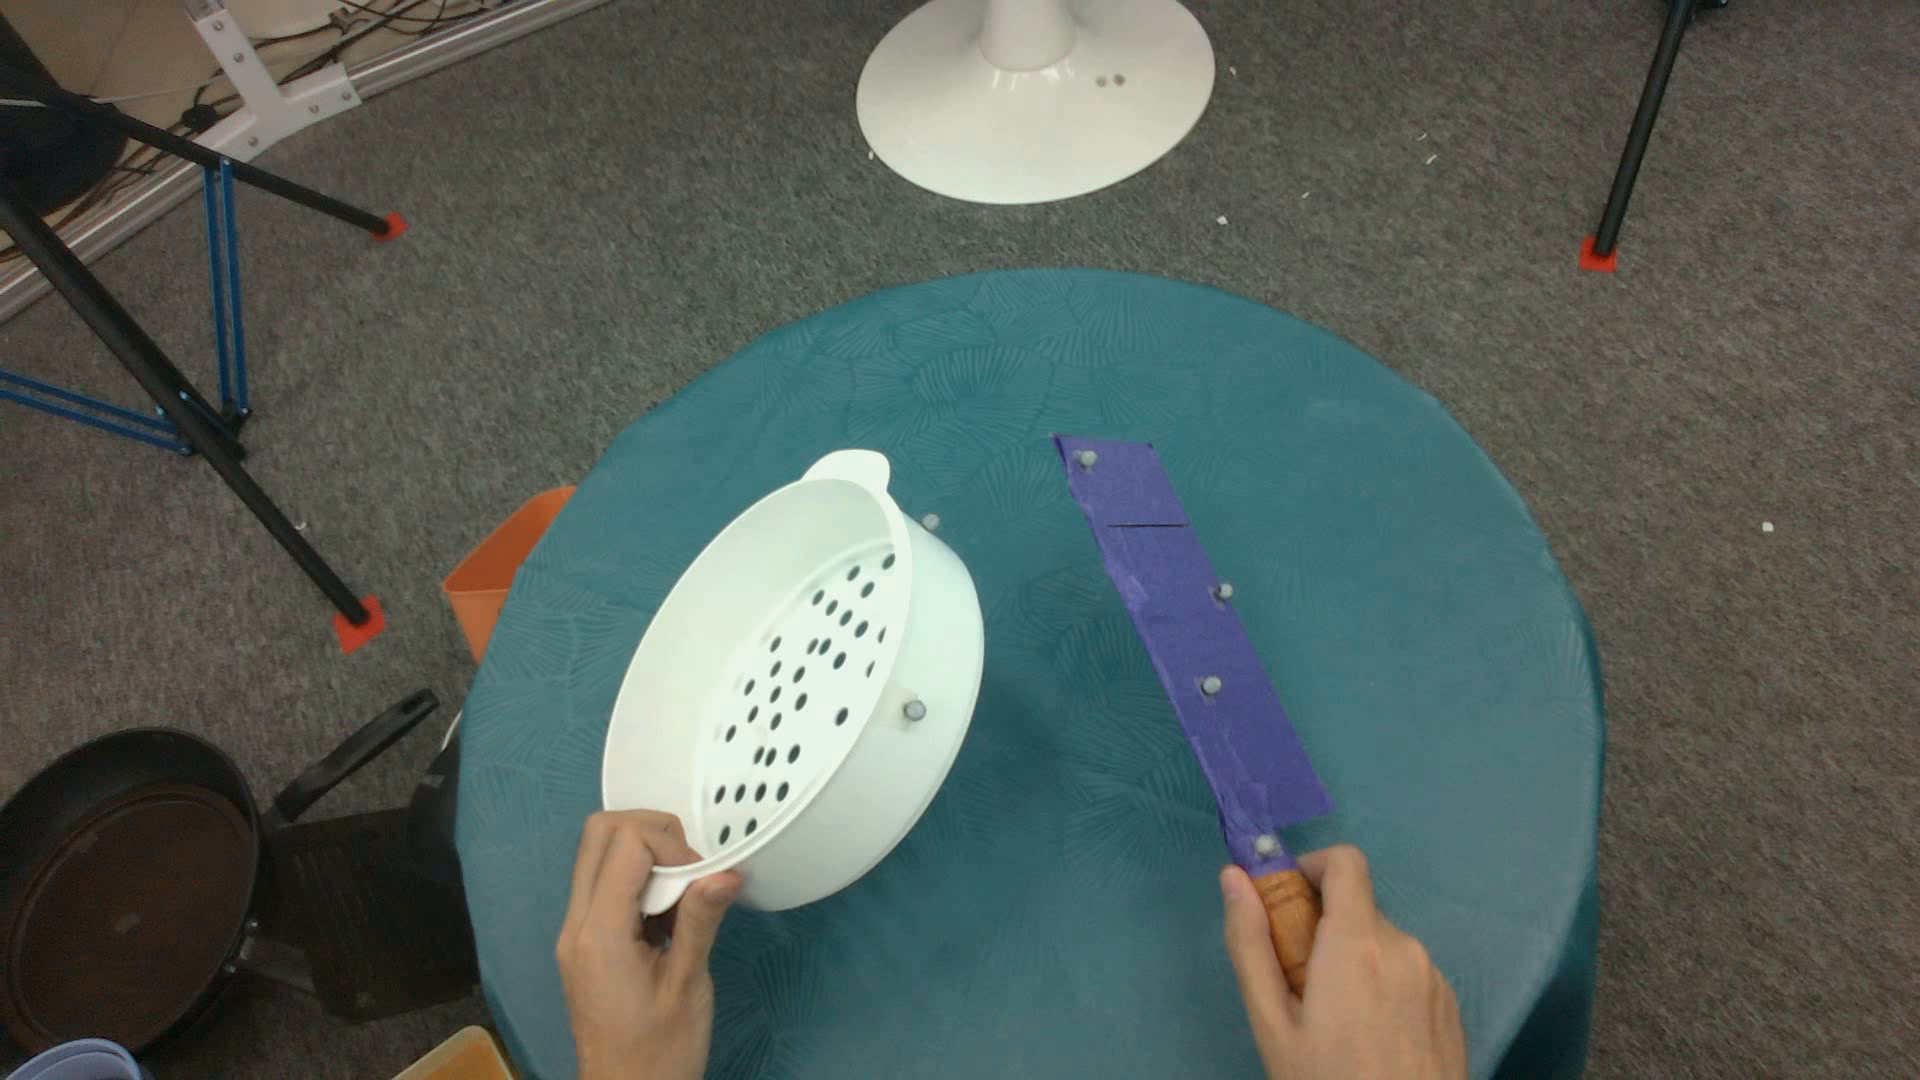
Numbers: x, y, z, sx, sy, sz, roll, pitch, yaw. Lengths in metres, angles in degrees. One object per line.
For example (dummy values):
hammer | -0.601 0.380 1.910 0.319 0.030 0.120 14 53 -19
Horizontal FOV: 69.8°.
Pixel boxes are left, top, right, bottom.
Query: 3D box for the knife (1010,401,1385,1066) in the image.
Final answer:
knife | 0.119 0.069 0.625 0.104 0.032 0.316 -5 66 -48

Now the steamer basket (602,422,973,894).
steamer basket | -0.081 0.059 0.643 0.201 0.069 0.231 7 69 51
